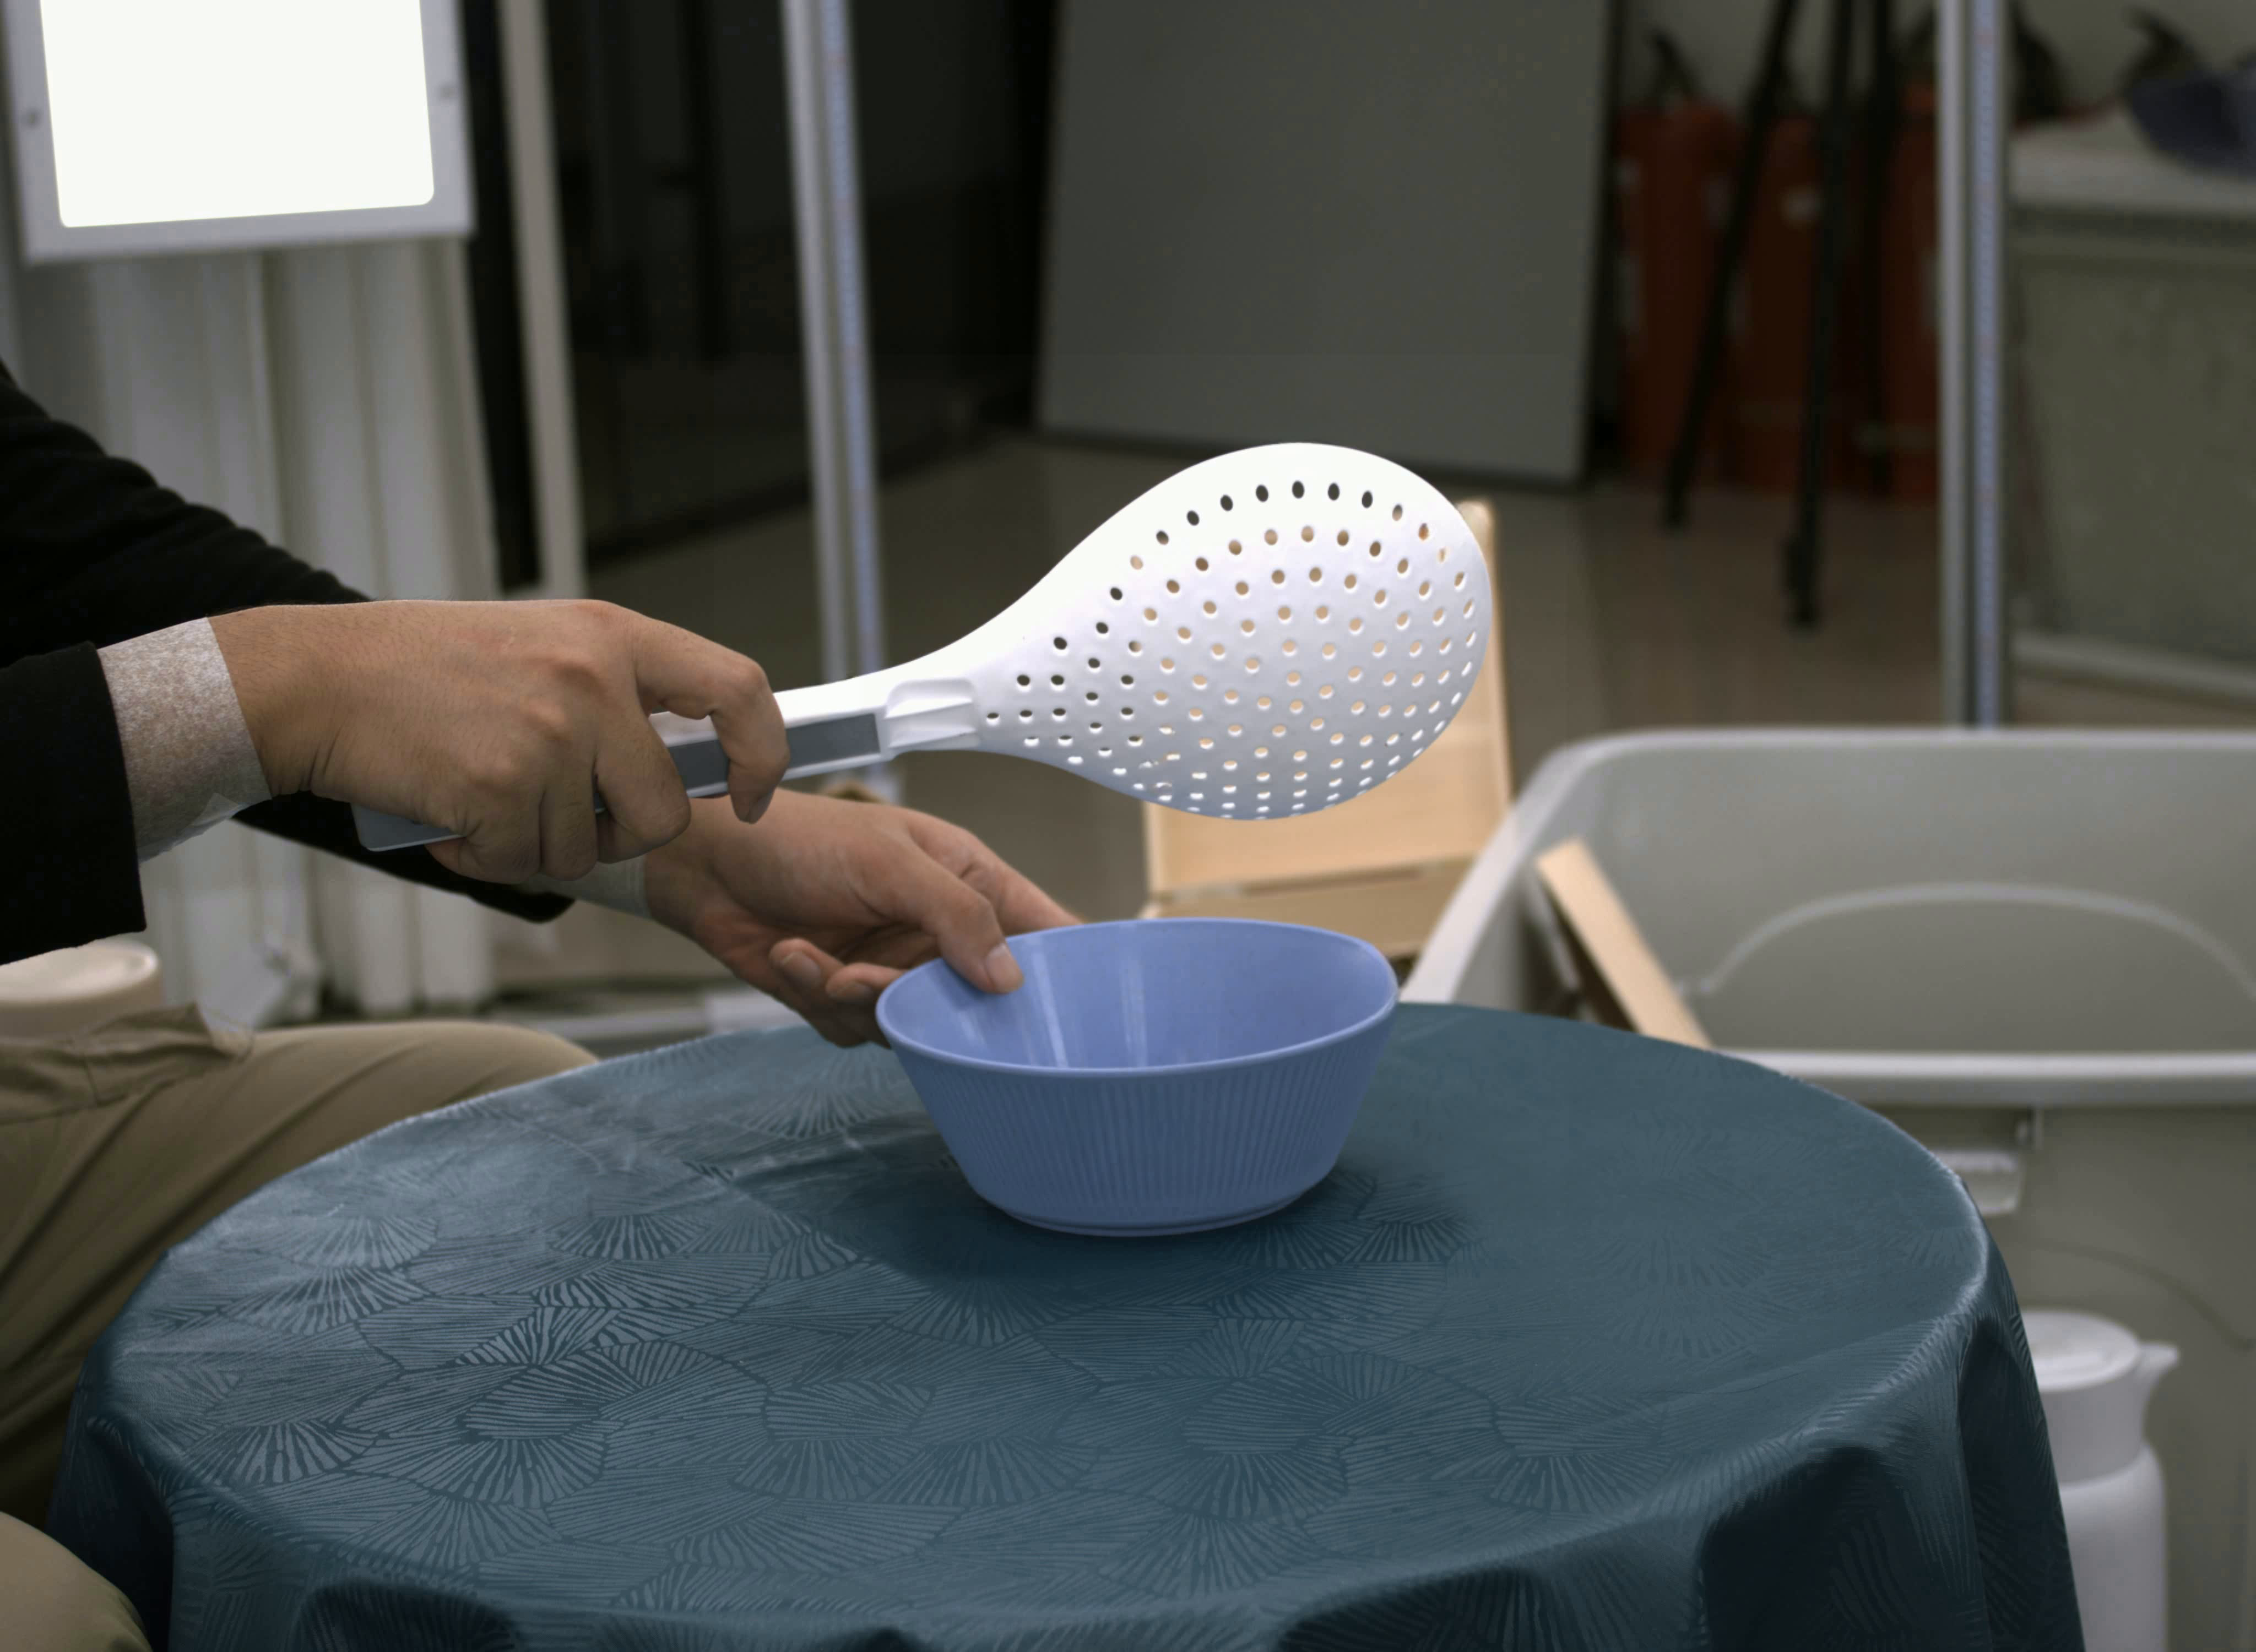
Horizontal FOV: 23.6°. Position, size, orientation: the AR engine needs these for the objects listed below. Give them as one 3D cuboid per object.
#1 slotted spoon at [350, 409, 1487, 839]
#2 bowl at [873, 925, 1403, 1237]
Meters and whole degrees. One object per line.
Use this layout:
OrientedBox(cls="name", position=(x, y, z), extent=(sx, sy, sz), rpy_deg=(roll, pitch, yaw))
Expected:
OrientedBox(cls="slotted spoon", position=(-0.060, -0.041, 1.618), extent=(0.345, 0.137, 0.046), rpy_deg=(-8, 32, 1))
OrientedBox(cls="bowl", position=(0.005, 0.085, 1.767), extent=(0.174, 0.071, 0.176), rpy_deg=(-5, 13, 0))
